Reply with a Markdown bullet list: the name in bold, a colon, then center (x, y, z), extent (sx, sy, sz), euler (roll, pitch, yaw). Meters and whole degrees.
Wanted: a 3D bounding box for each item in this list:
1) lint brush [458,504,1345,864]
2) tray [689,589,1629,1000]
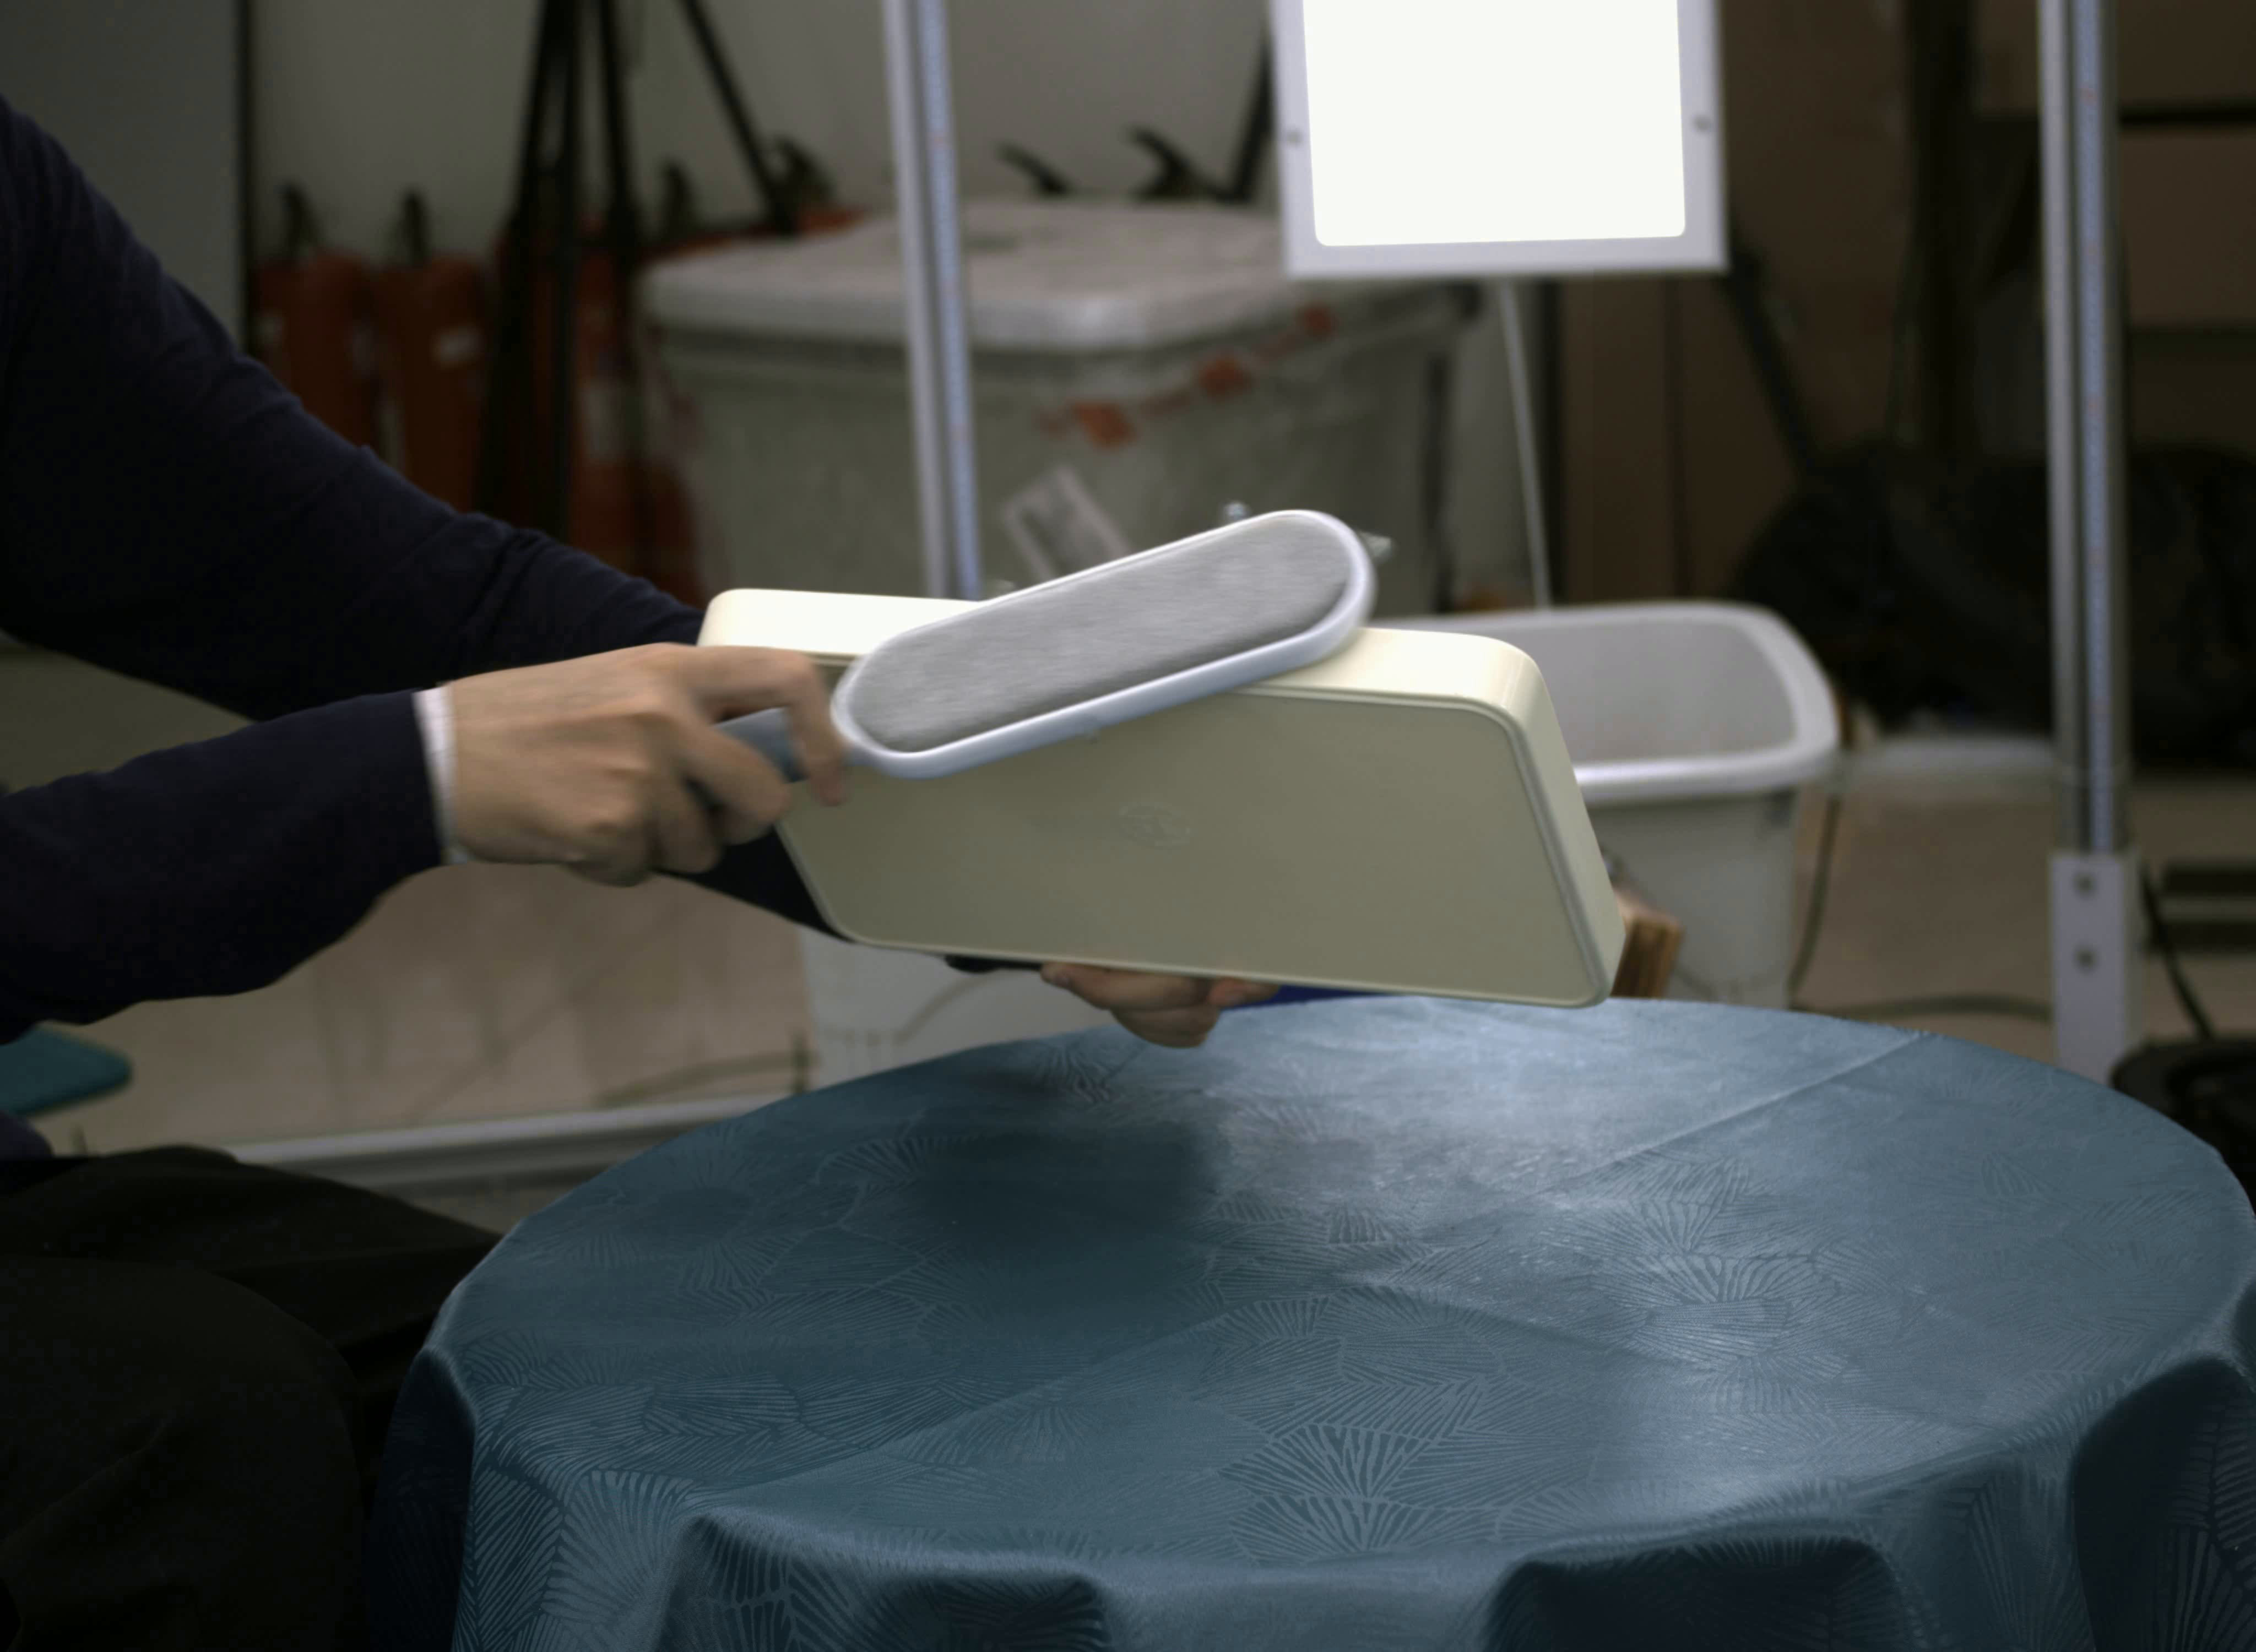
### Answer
- **lint brush**: center (-0.076, -0.043, 1.815), extent (0.310, 0.060, 0.021), euler (-17, -32, 8)
- **tray**: center (0.012, -0.010, 1.894), extent (0.305, 0.190, 0.027), euler (3, 56, 23)
